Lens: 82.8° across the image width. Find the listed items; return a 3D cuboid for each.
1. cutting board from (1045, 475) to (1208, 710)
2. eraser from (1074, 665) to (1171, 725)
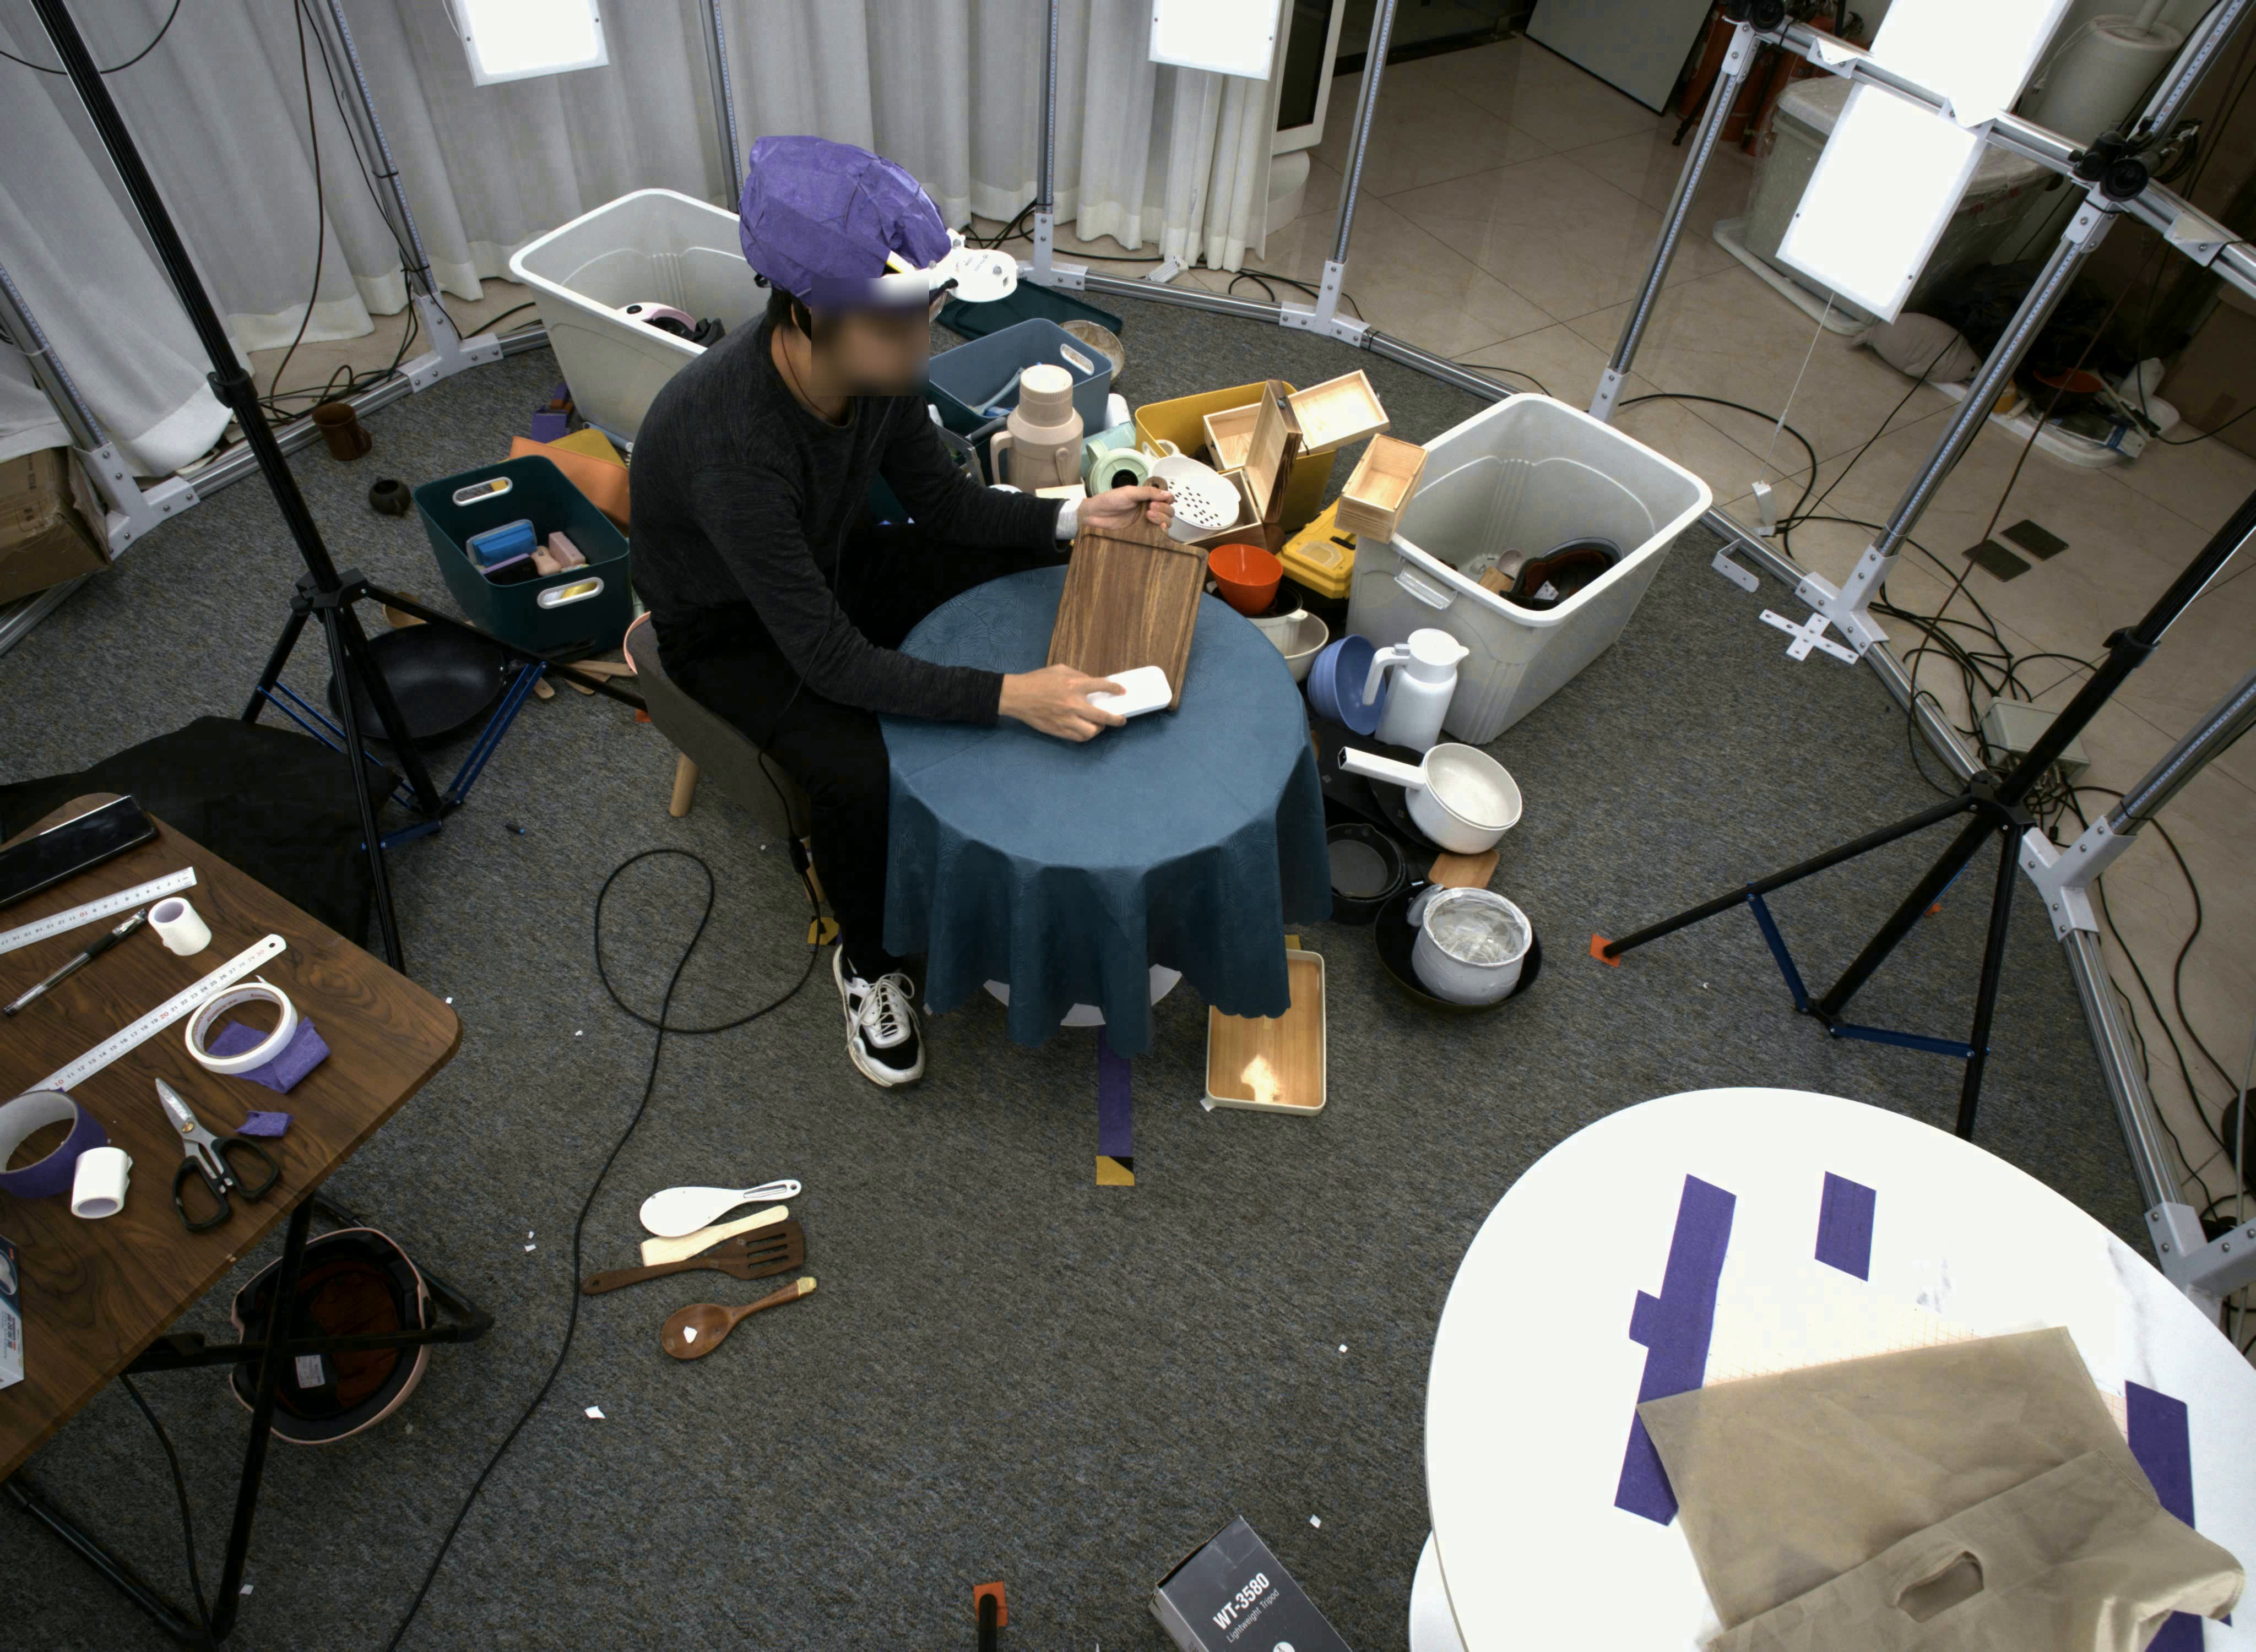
[{"bbox_3d":[0.009,-0.348,1.862,0.201,0.023,0.357,11,73,3],"label":"cutting board"},{"bbox_3d":[-0.009,-0.184,1.784,0.131,0.034,0.064,-14,68,-12],"label":"eraser"}]
